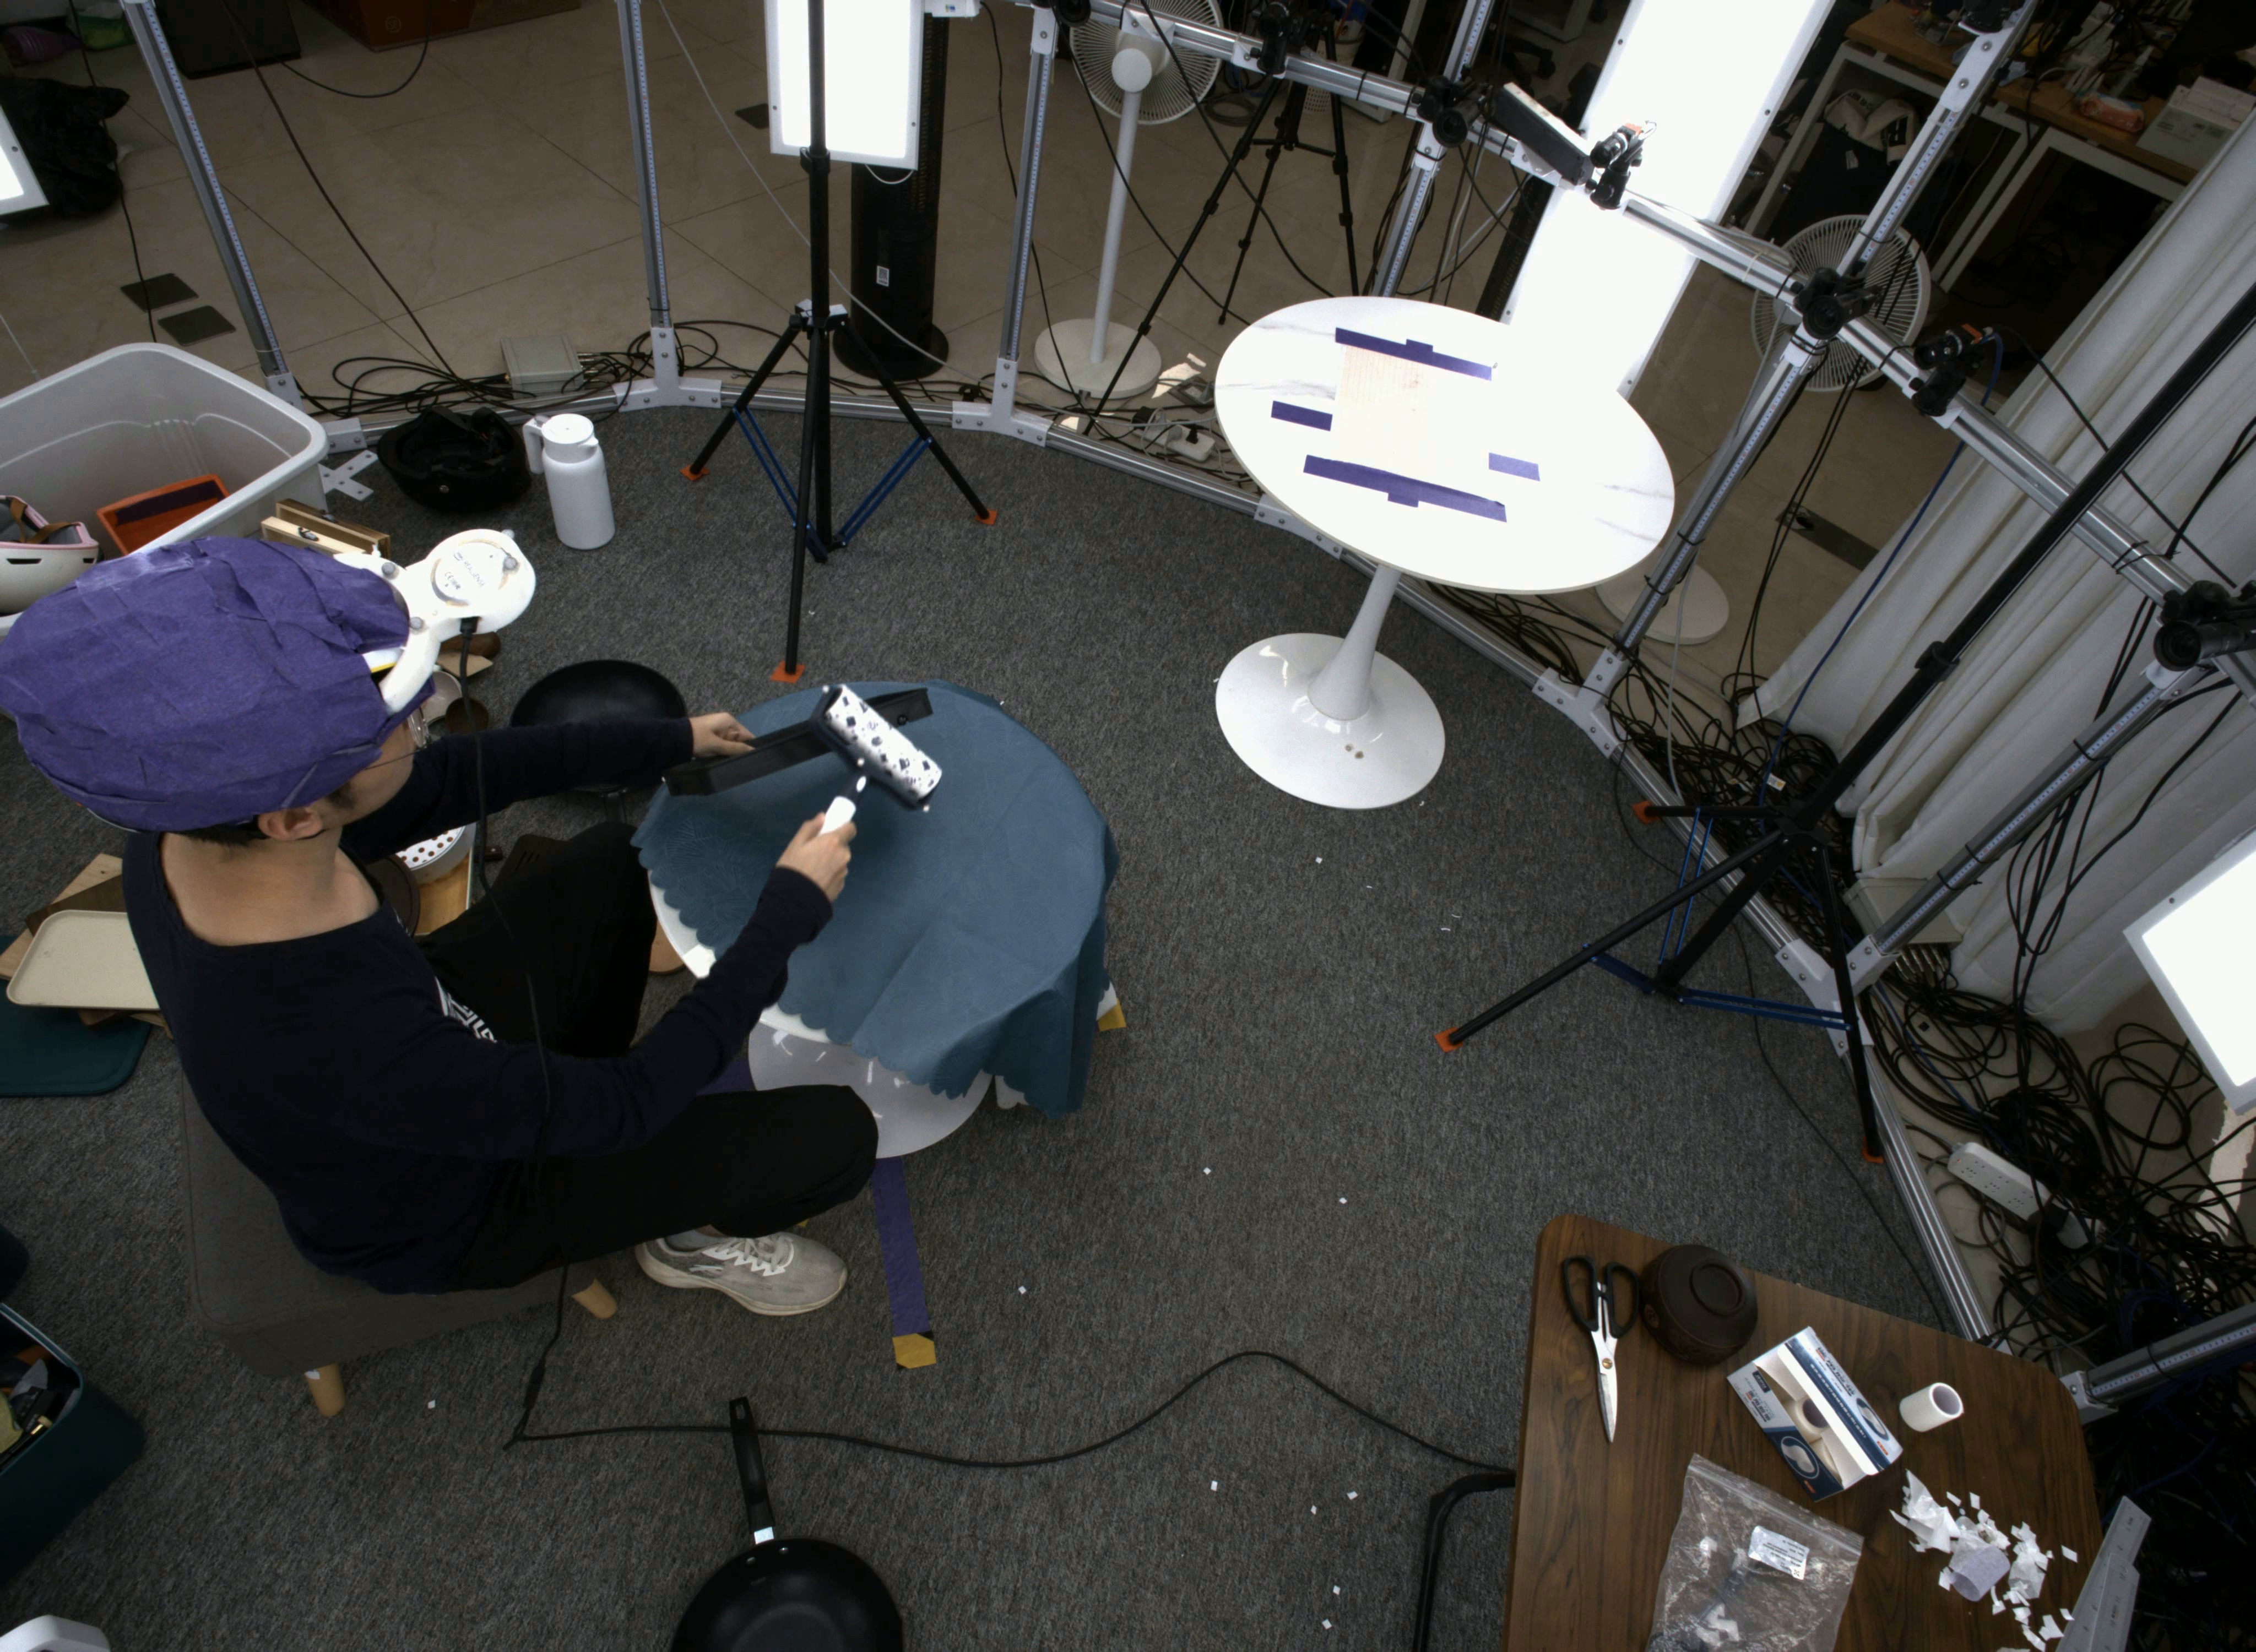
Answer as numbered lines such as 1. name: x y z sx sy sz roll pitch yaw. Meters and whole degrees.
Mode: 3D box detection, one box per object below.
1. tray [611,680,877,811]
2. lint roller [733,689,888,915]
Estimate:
1. tray: -0.479 -0.102 1.613 0.319 0.179 0.038 -29 105 -33
2. lint roller: -0.382 -0.010 1.470 0.182 0.049 0.245 42 53 -35
